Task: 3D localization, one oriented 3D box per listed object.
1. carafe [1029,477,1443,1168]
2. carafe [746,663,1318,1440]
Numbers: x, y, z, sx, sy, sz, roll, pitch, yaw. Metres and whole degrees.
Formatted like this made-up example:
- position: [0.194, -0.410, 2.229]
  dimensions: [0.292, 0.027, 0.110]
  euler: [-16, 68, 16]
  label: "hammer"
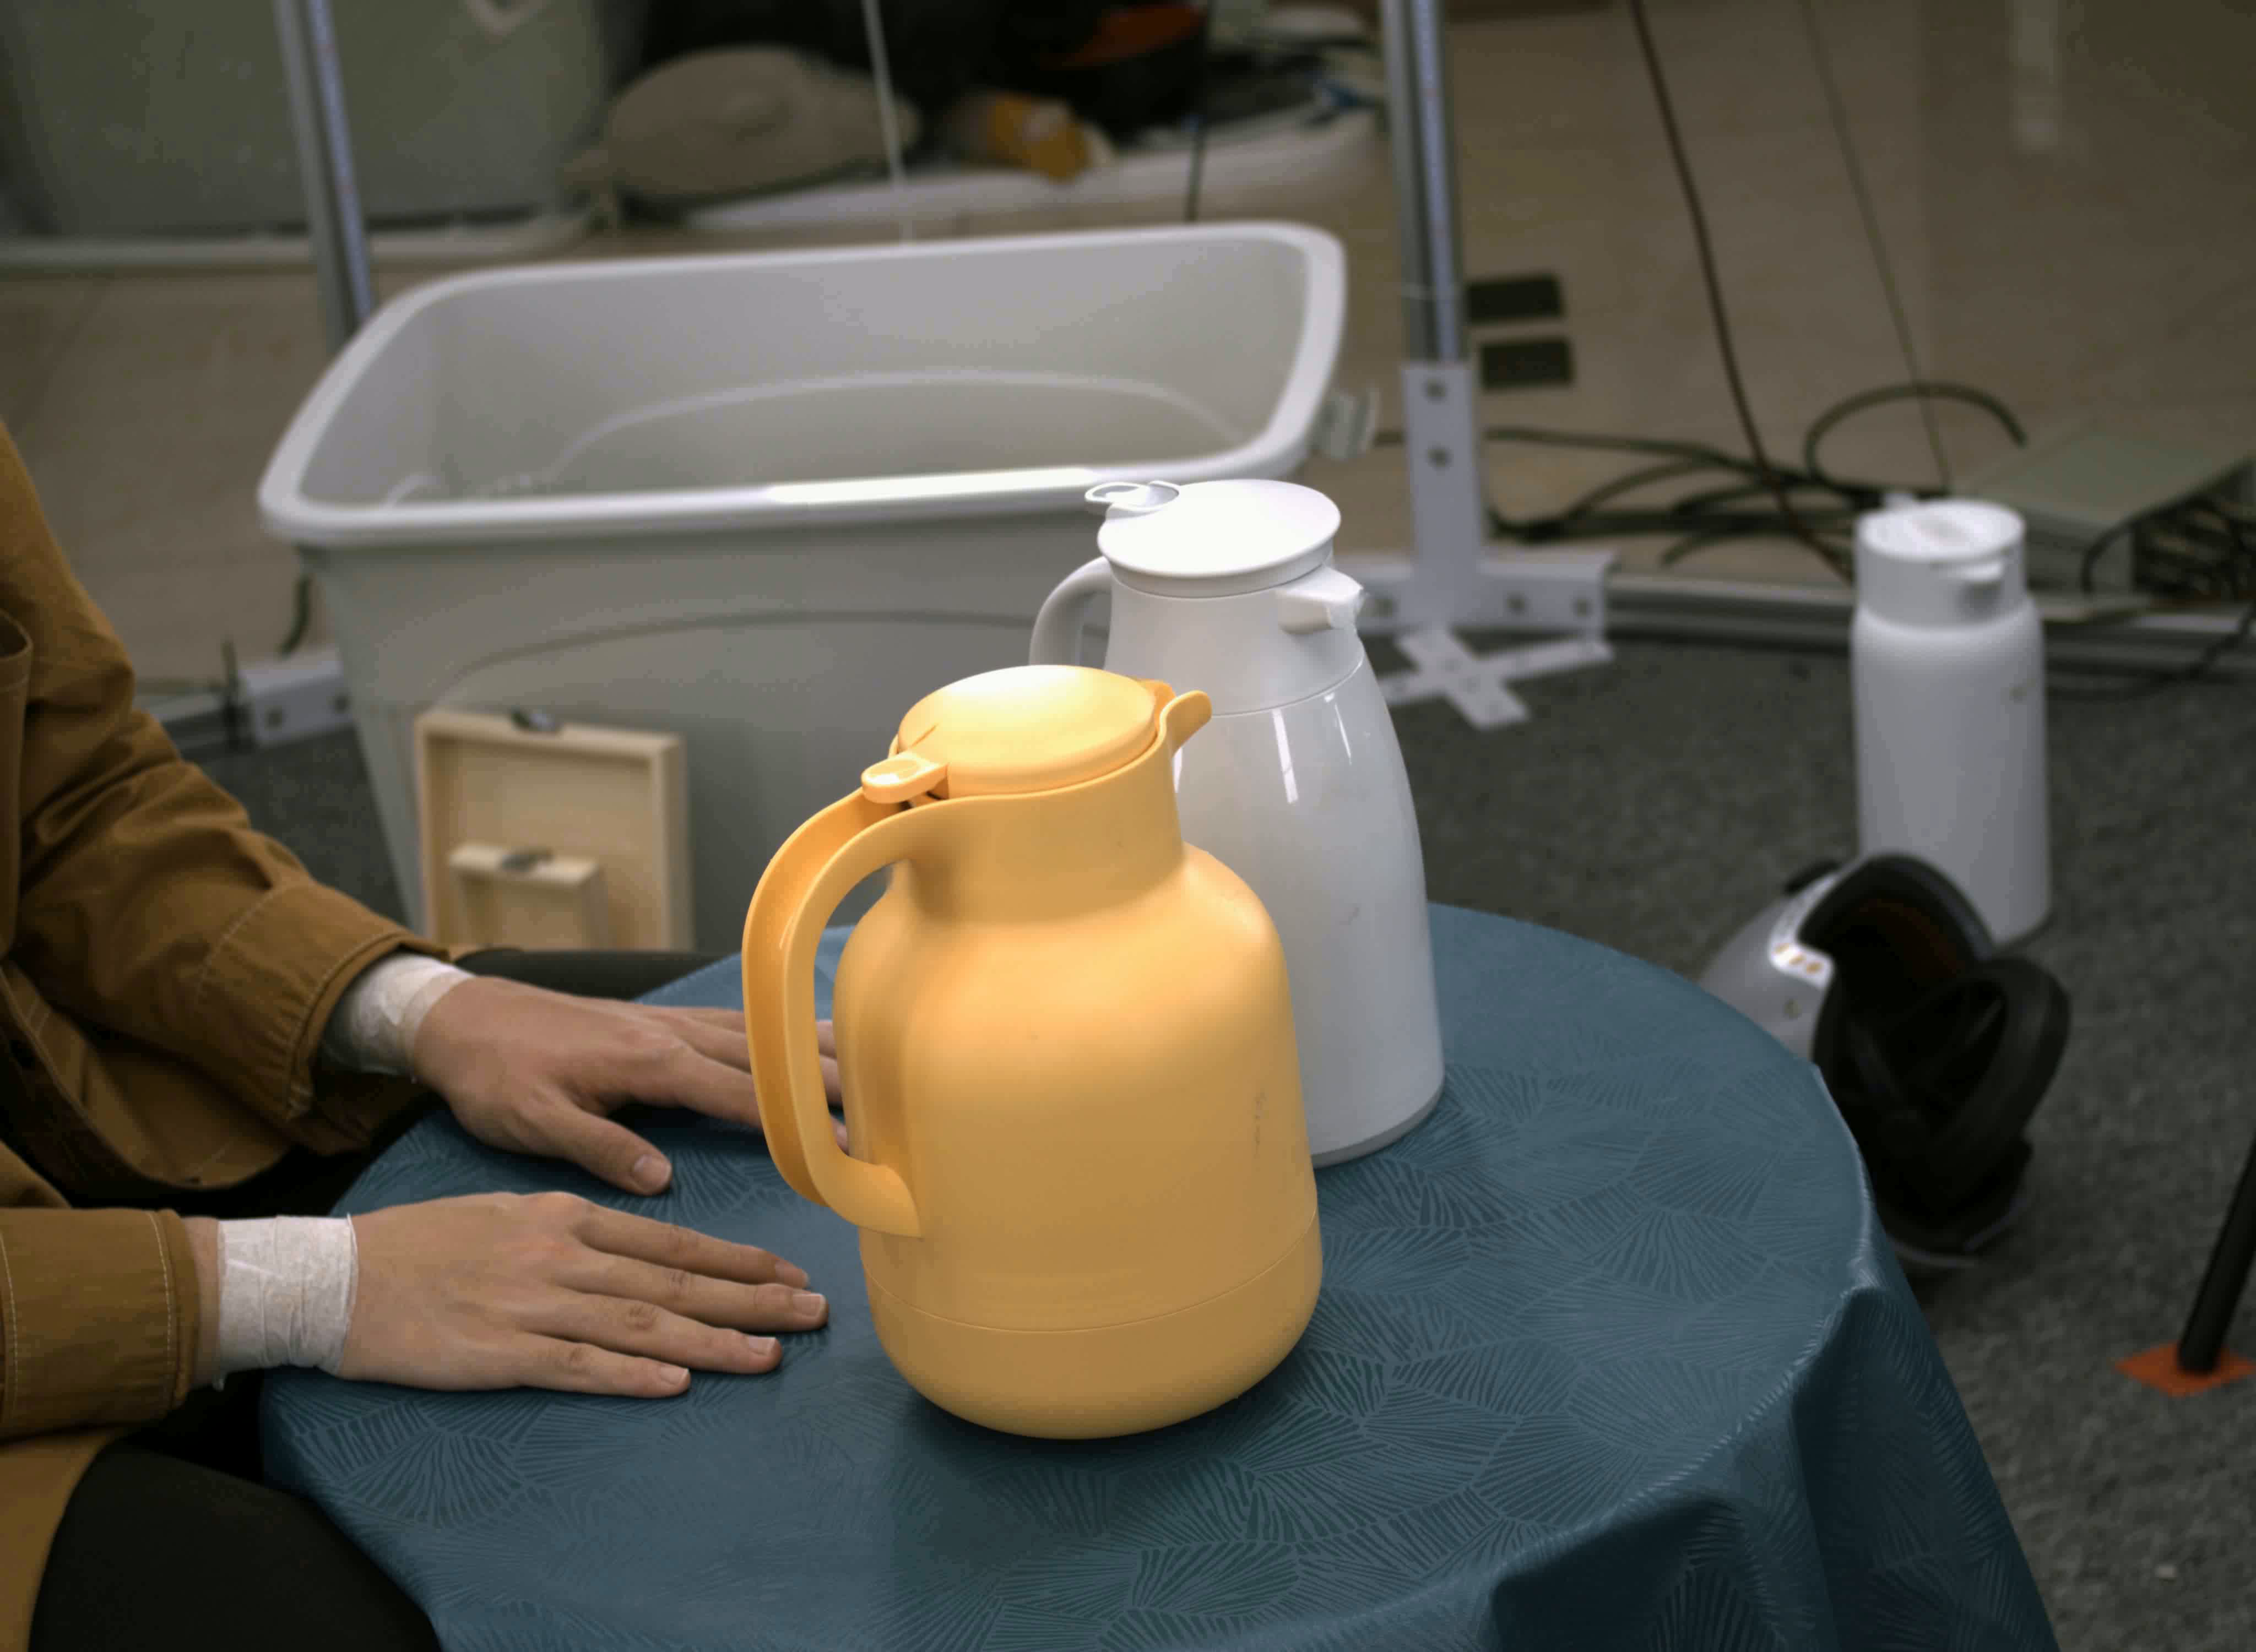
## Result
- position: [0.031, -0.010, 2.164]
  dimensions: [0.166, 0.252, 0.131]
  euler: [16, 34, 40]
  label: "carafe"
- position: [-0.039, 0.080, 1.974]
  dimensions: [0.201, 0.264, 0.162]
  euler: [-21, 27, -30]
  label: "carafe"
